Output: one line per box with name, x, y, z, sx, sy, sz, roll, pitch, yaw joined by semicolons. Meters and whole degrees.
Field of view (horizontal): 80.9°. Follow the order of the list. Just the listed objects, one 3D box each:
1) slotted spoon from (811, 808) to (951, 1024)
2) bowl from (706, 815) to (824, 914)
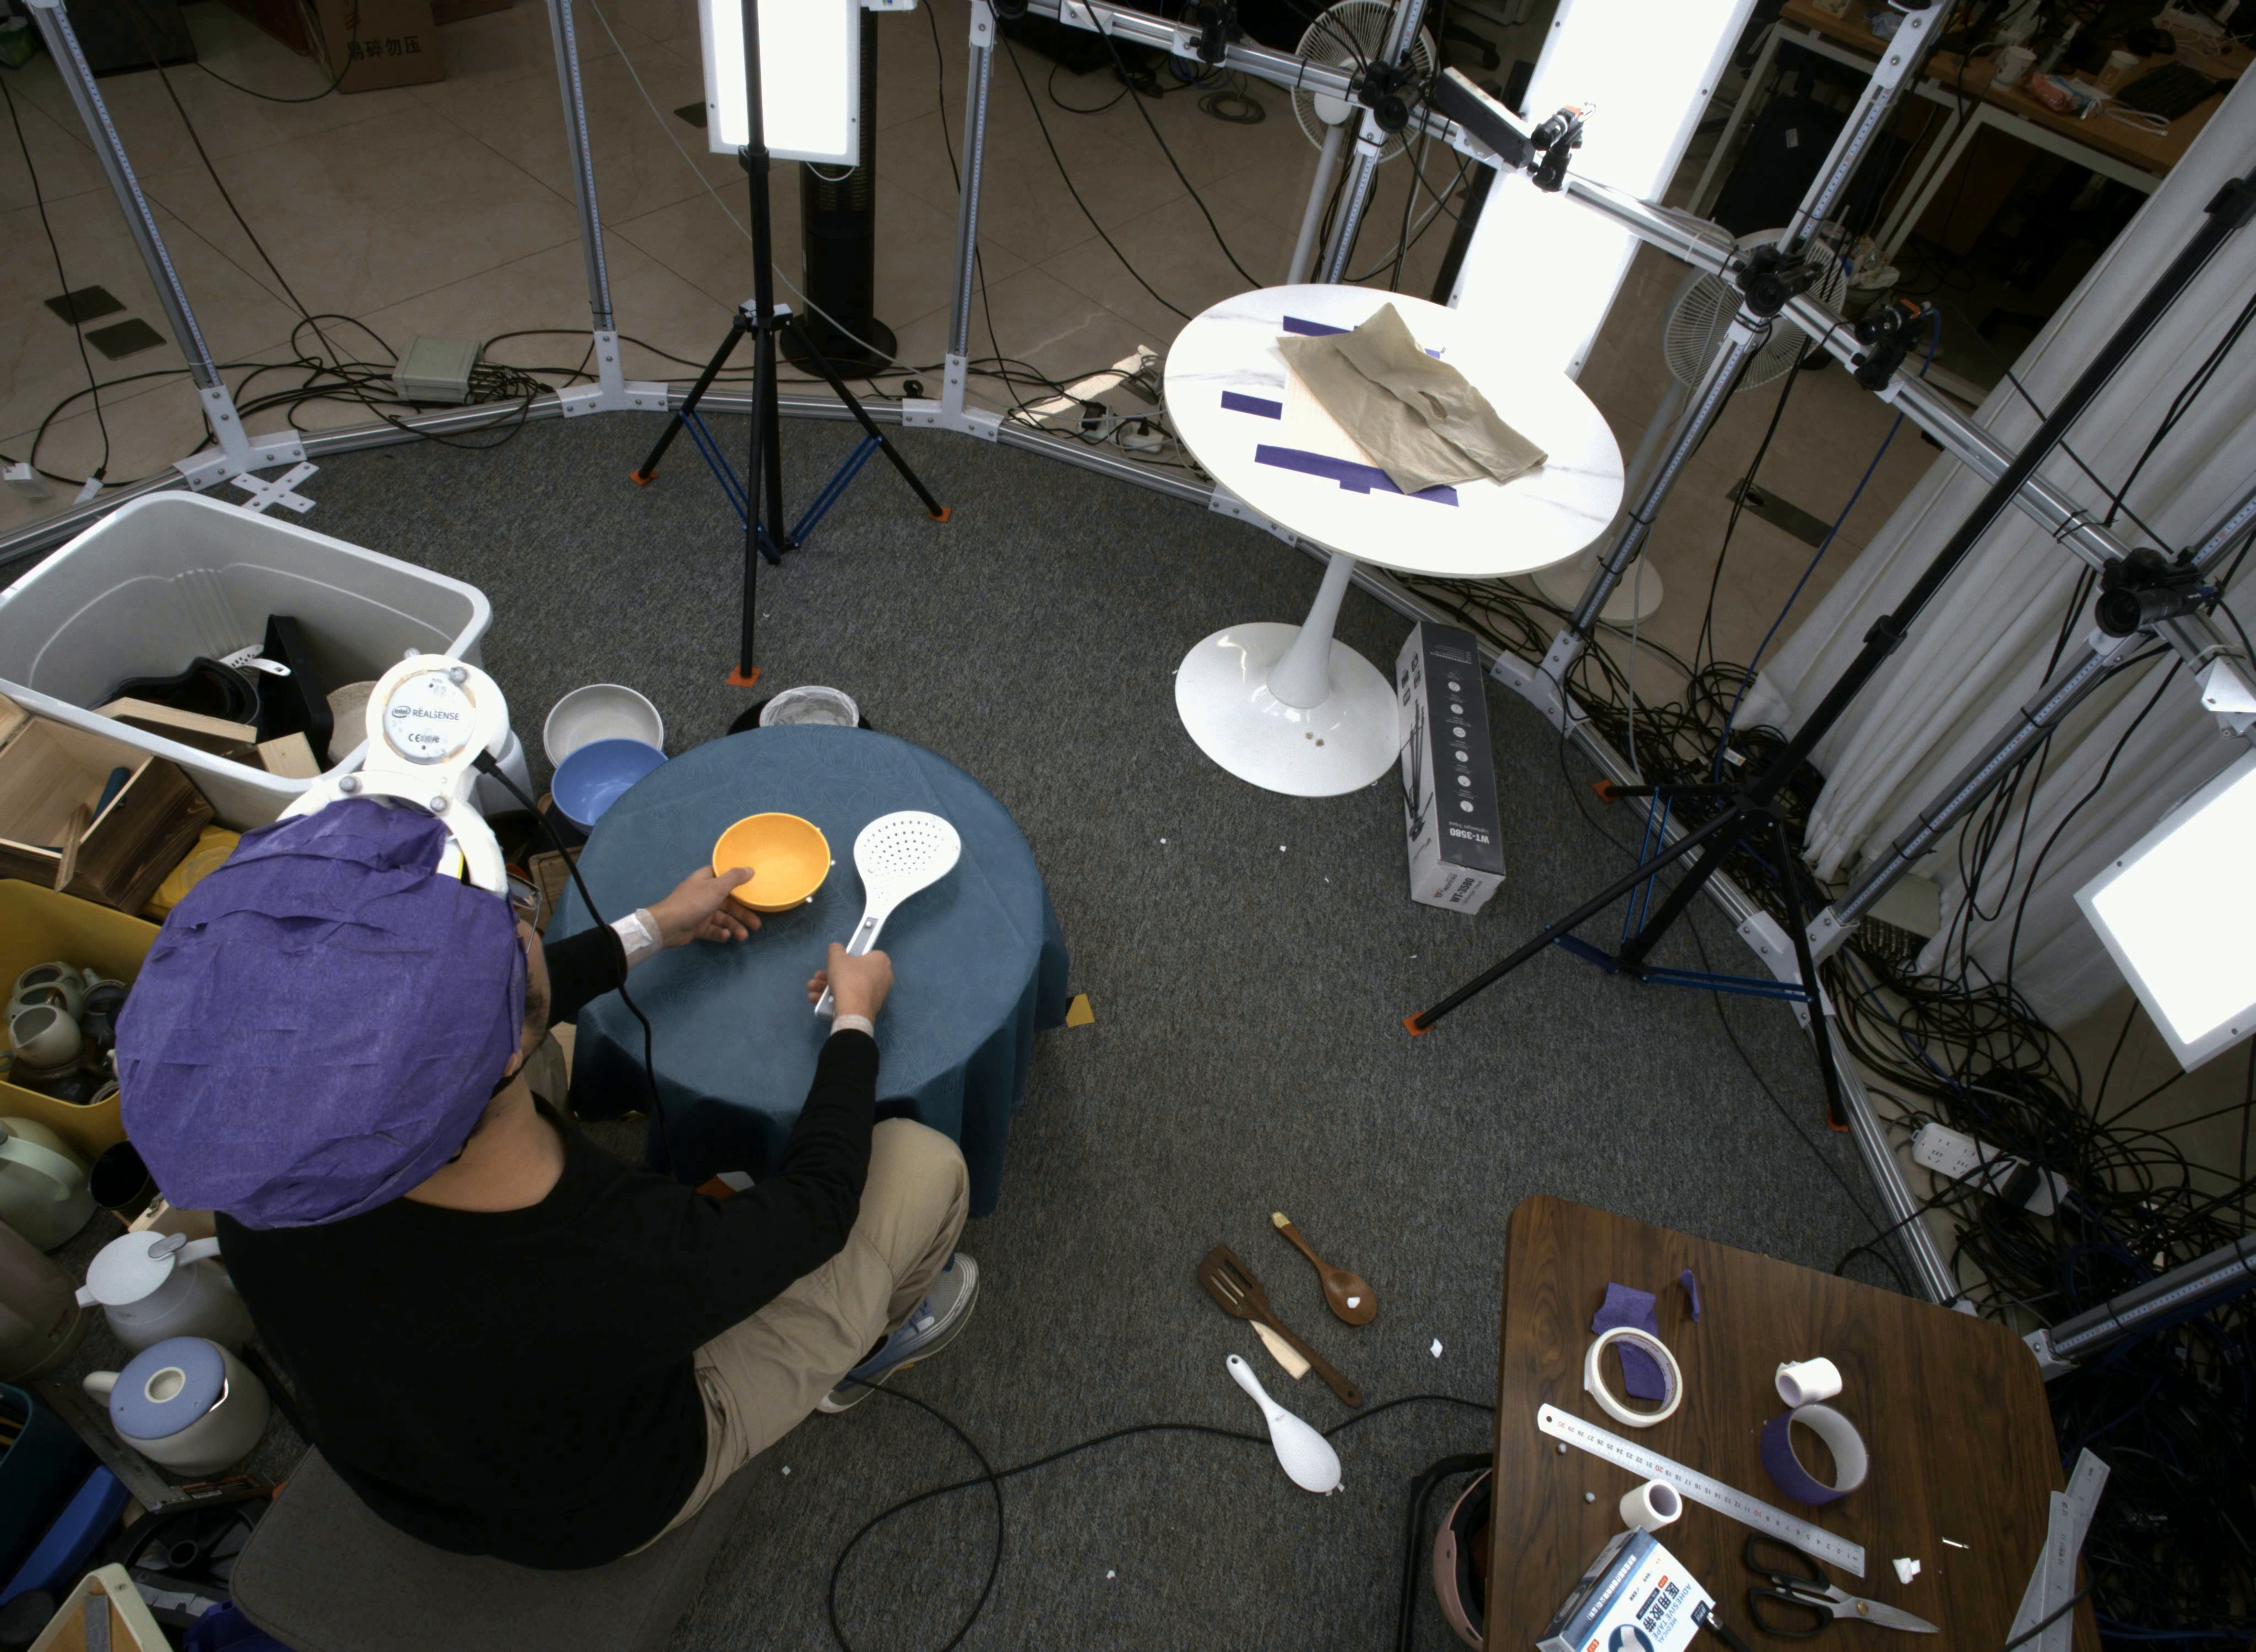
slotted spoon;-0.317;0.102;1.613;0.133;0.047;0.345;9;41;8
bowl;-0.455;0.059;1.630;0.145;0.061;0.142;7;51;-7
